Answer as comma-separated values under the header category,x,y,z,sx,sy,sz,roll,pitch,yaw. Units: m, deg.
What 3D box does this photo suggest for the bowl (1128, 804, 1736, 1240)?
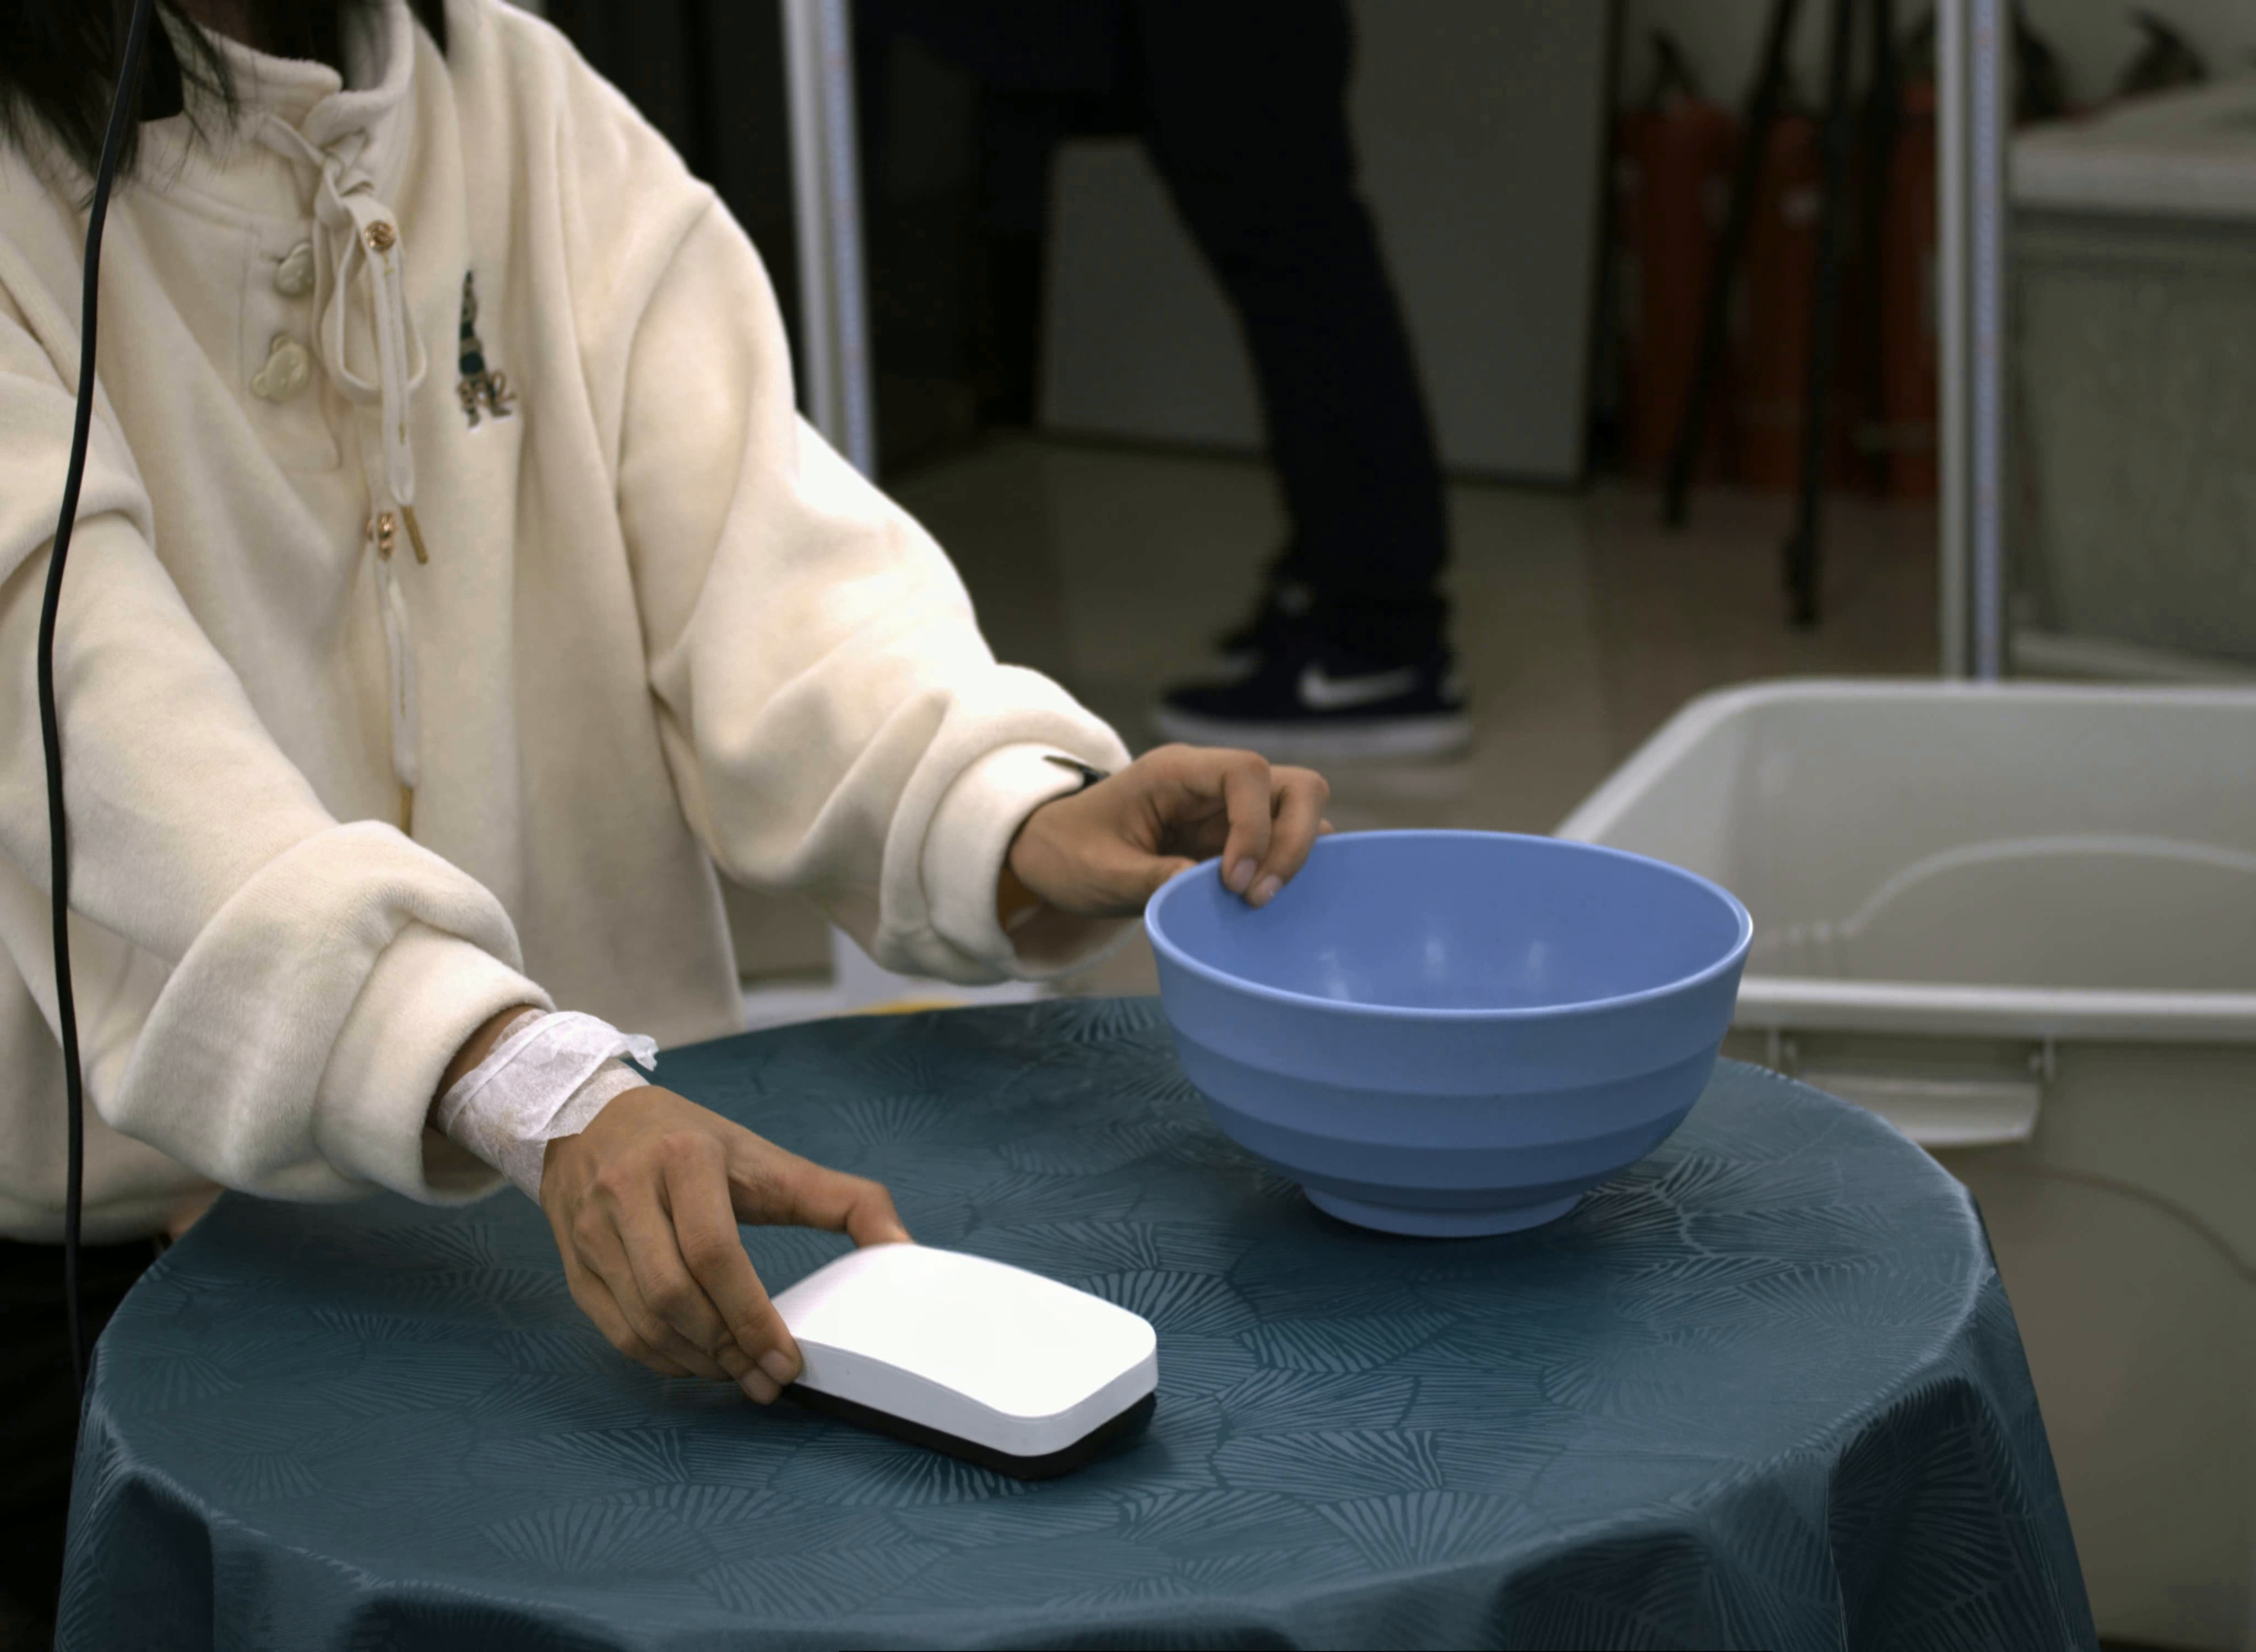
category,x,y,z,sx,sy,sz,roll,pitch,yaw
bowl,0.096,0.071,1.732,0.194,0.096,0.197,0,21,-1

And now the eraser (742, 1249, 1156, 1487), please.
category,x,y,z,sx,sy,sz,roll,pitch,yaw
eraser,-0.051,0.154,1.568,0.132,0.035,0.062,12,28,44
